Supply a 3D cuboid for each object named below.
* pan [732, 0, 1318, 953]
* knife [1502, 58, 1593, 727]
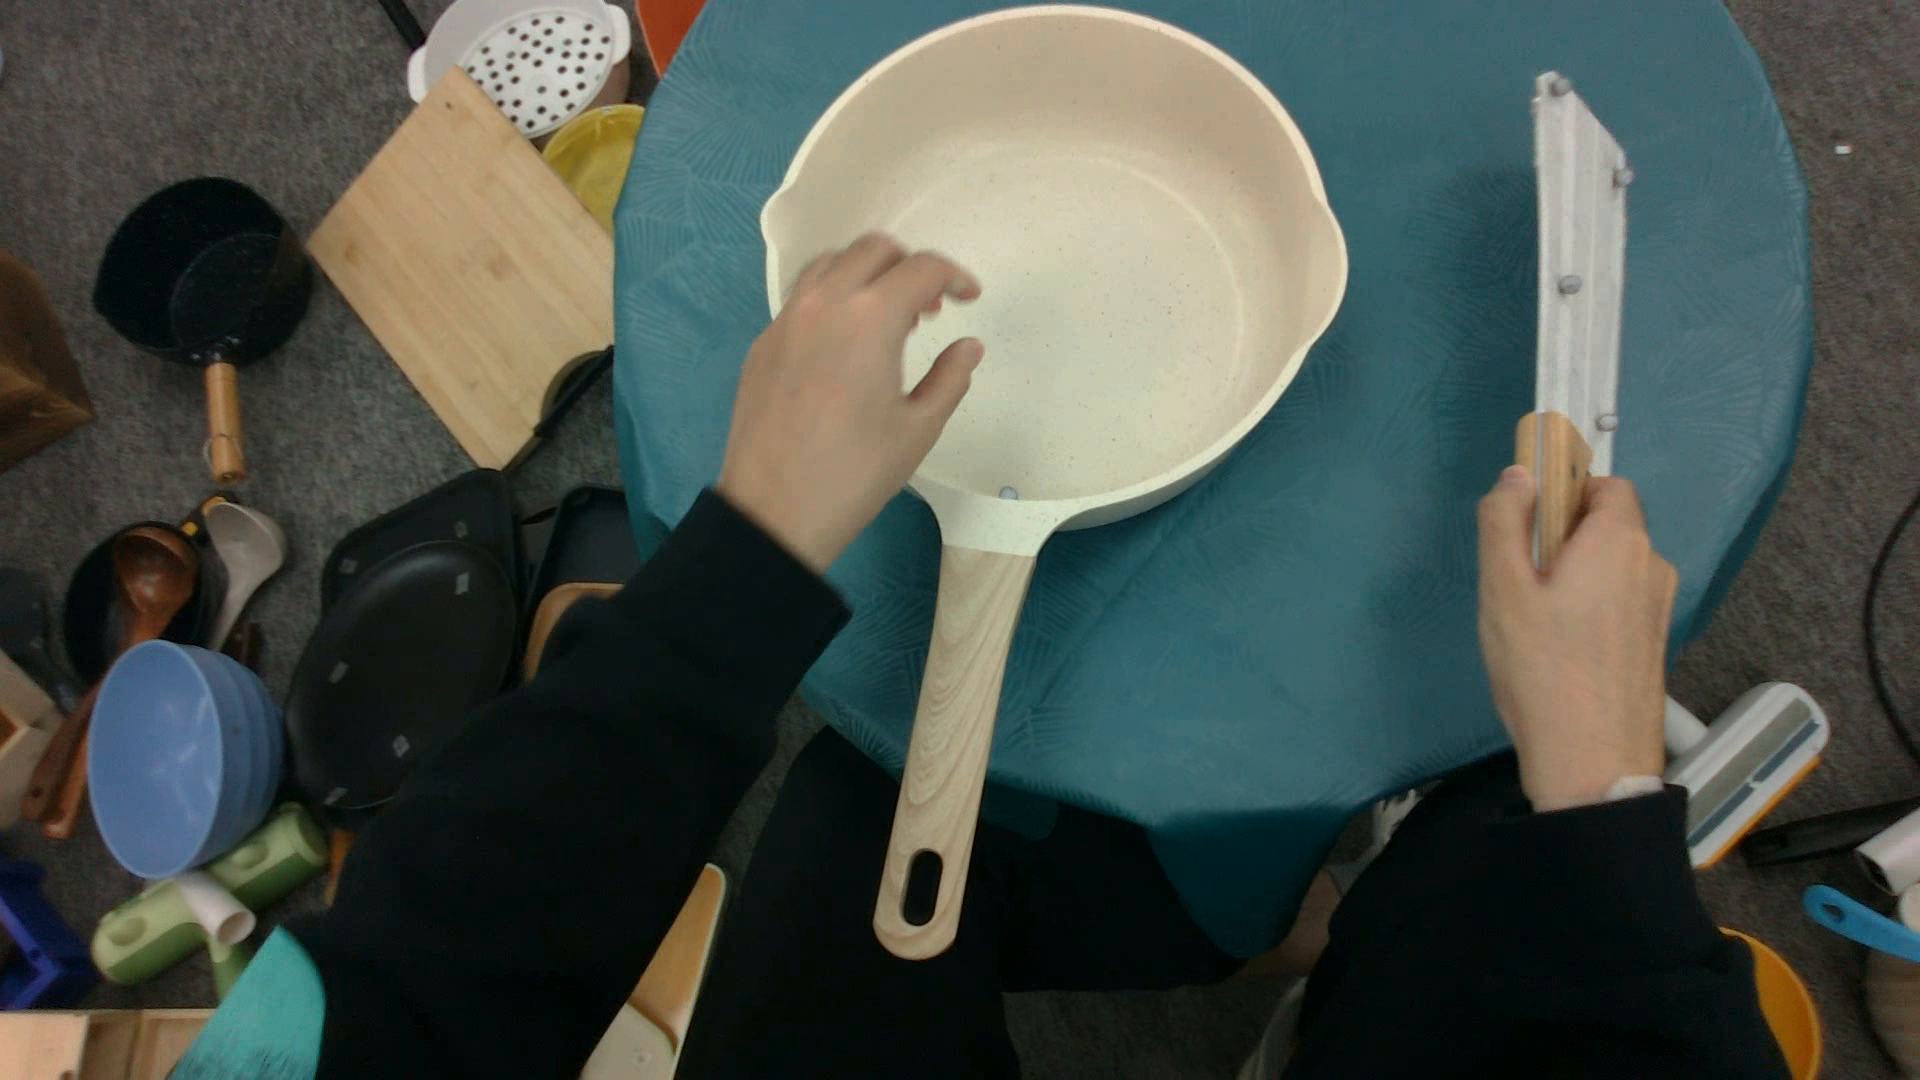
[{"bbox_3d":[0.015,-0.040,0.619,0.263,0.102,0.436,7,73,4],"label":"pan"},{"bbox_3d":[0.258,-0.071,0.601,0.021,0.114,0.316,-6,63,38],"label":"knife"}]
